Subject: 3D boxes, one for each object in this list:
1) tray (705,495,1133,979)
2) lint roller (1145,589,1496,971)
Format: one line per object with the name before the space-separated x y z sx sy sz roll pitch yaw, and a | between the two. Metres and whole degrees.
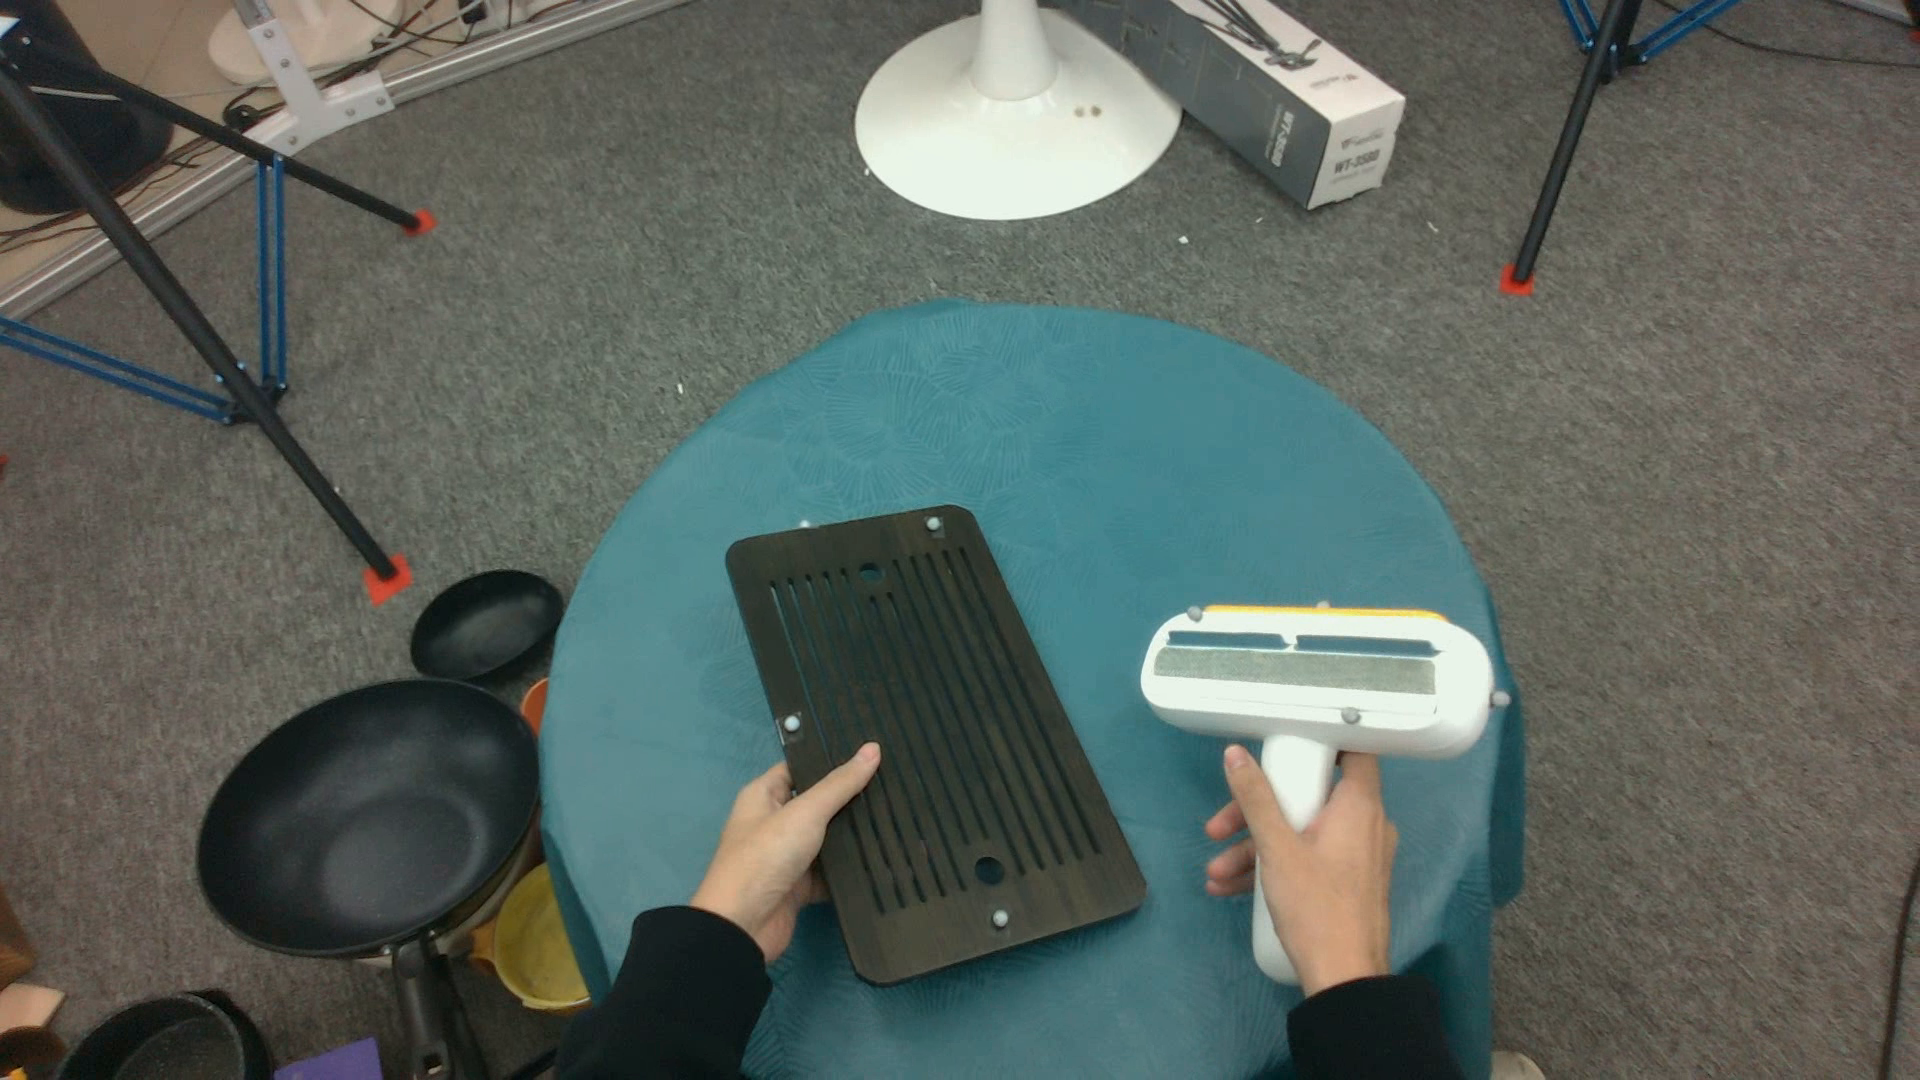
tray | -0.033 0.099 0.813 0.170 0.018 0.307 -10 52 -20
lint roller | 0.172 0.125 0.717 0.192 0.074 0.193 5 74 41
